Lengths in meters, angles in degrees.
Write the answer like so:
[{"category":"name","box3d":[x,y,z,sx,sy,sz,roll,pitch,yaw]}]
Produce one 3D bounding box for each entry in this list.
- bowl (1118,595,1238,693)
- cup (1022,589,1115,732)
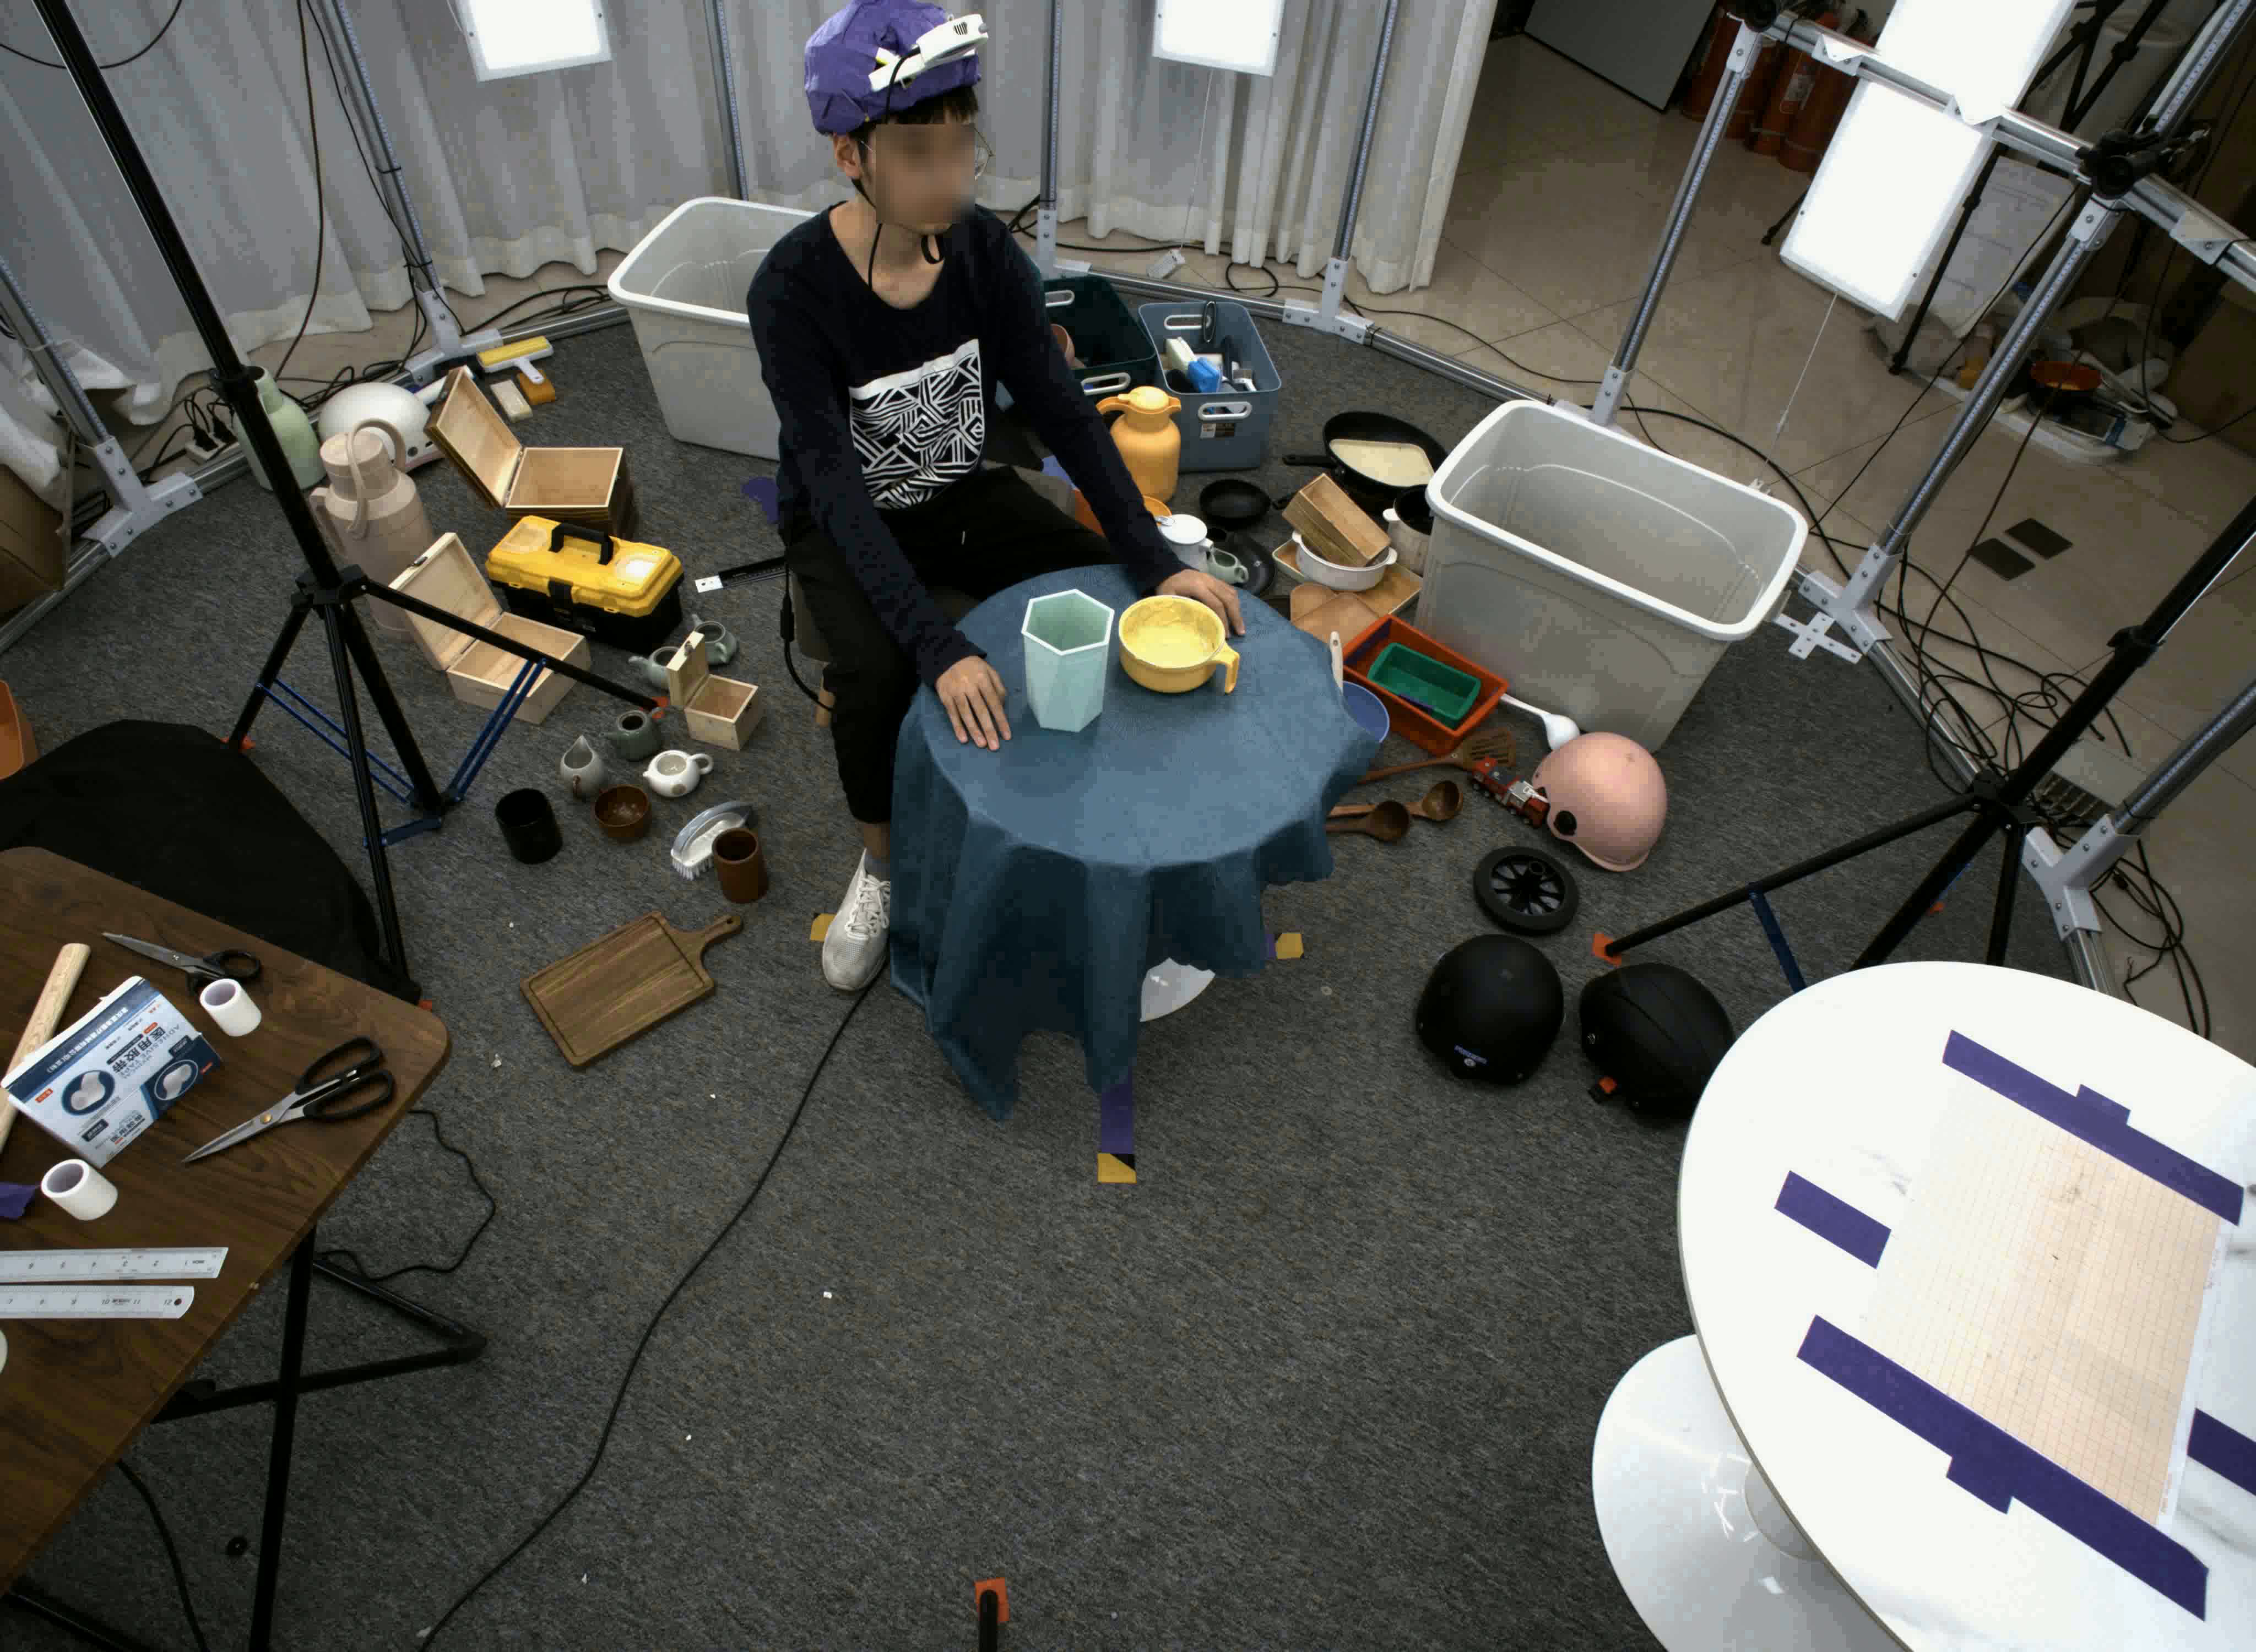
[{"category":"bowl","box3d":[0.071,-0.252,1.847,0.180,0.072,0.155,22,47,17]},{"category":"cup","box3d":[-0.082,-0.219,1.747,0.131,0.159,0.118,-16,51,-18]}]
